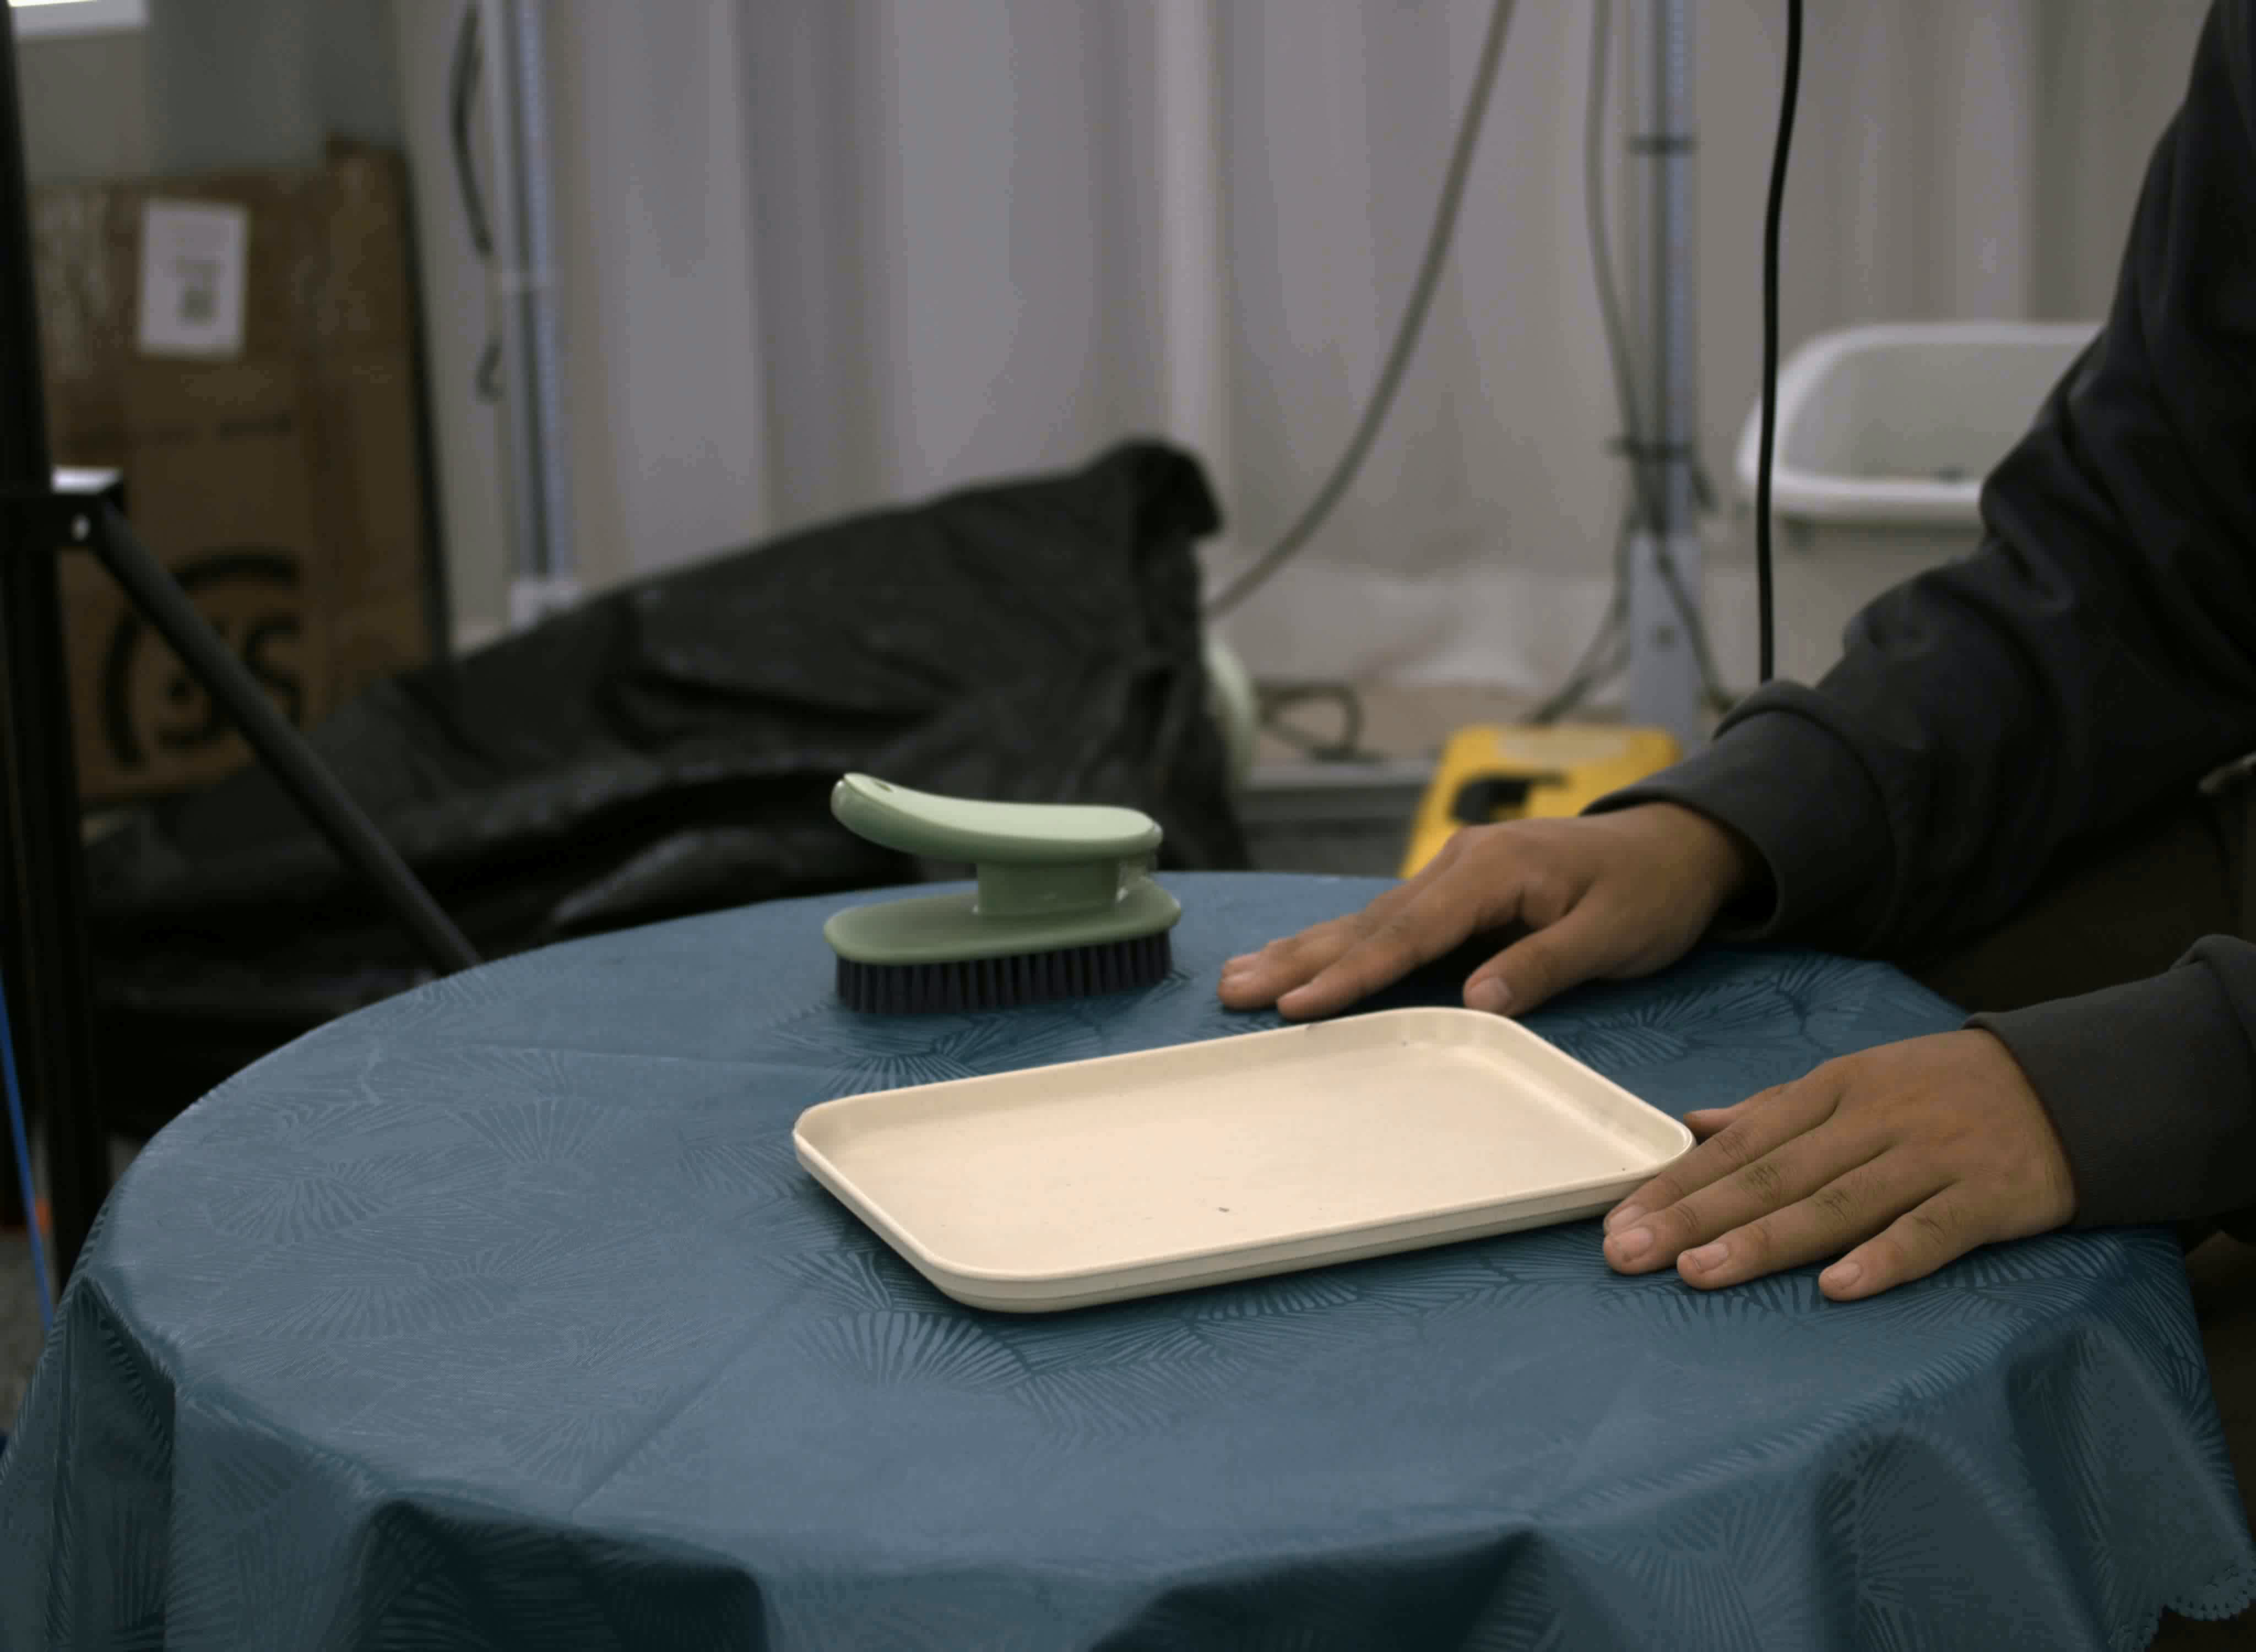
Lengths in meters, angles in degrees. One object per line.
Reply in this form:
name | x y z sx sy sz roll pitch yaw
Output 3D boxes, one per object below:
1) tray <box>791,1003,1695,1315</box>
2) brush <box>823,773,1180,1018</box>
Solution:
tray | 0.033 0.097 1.557 0.235 0.017 0.174 -8 17 -20
brush | -0.043 0.027 1.752 0.120 0.076 0.060 8 12 -19
